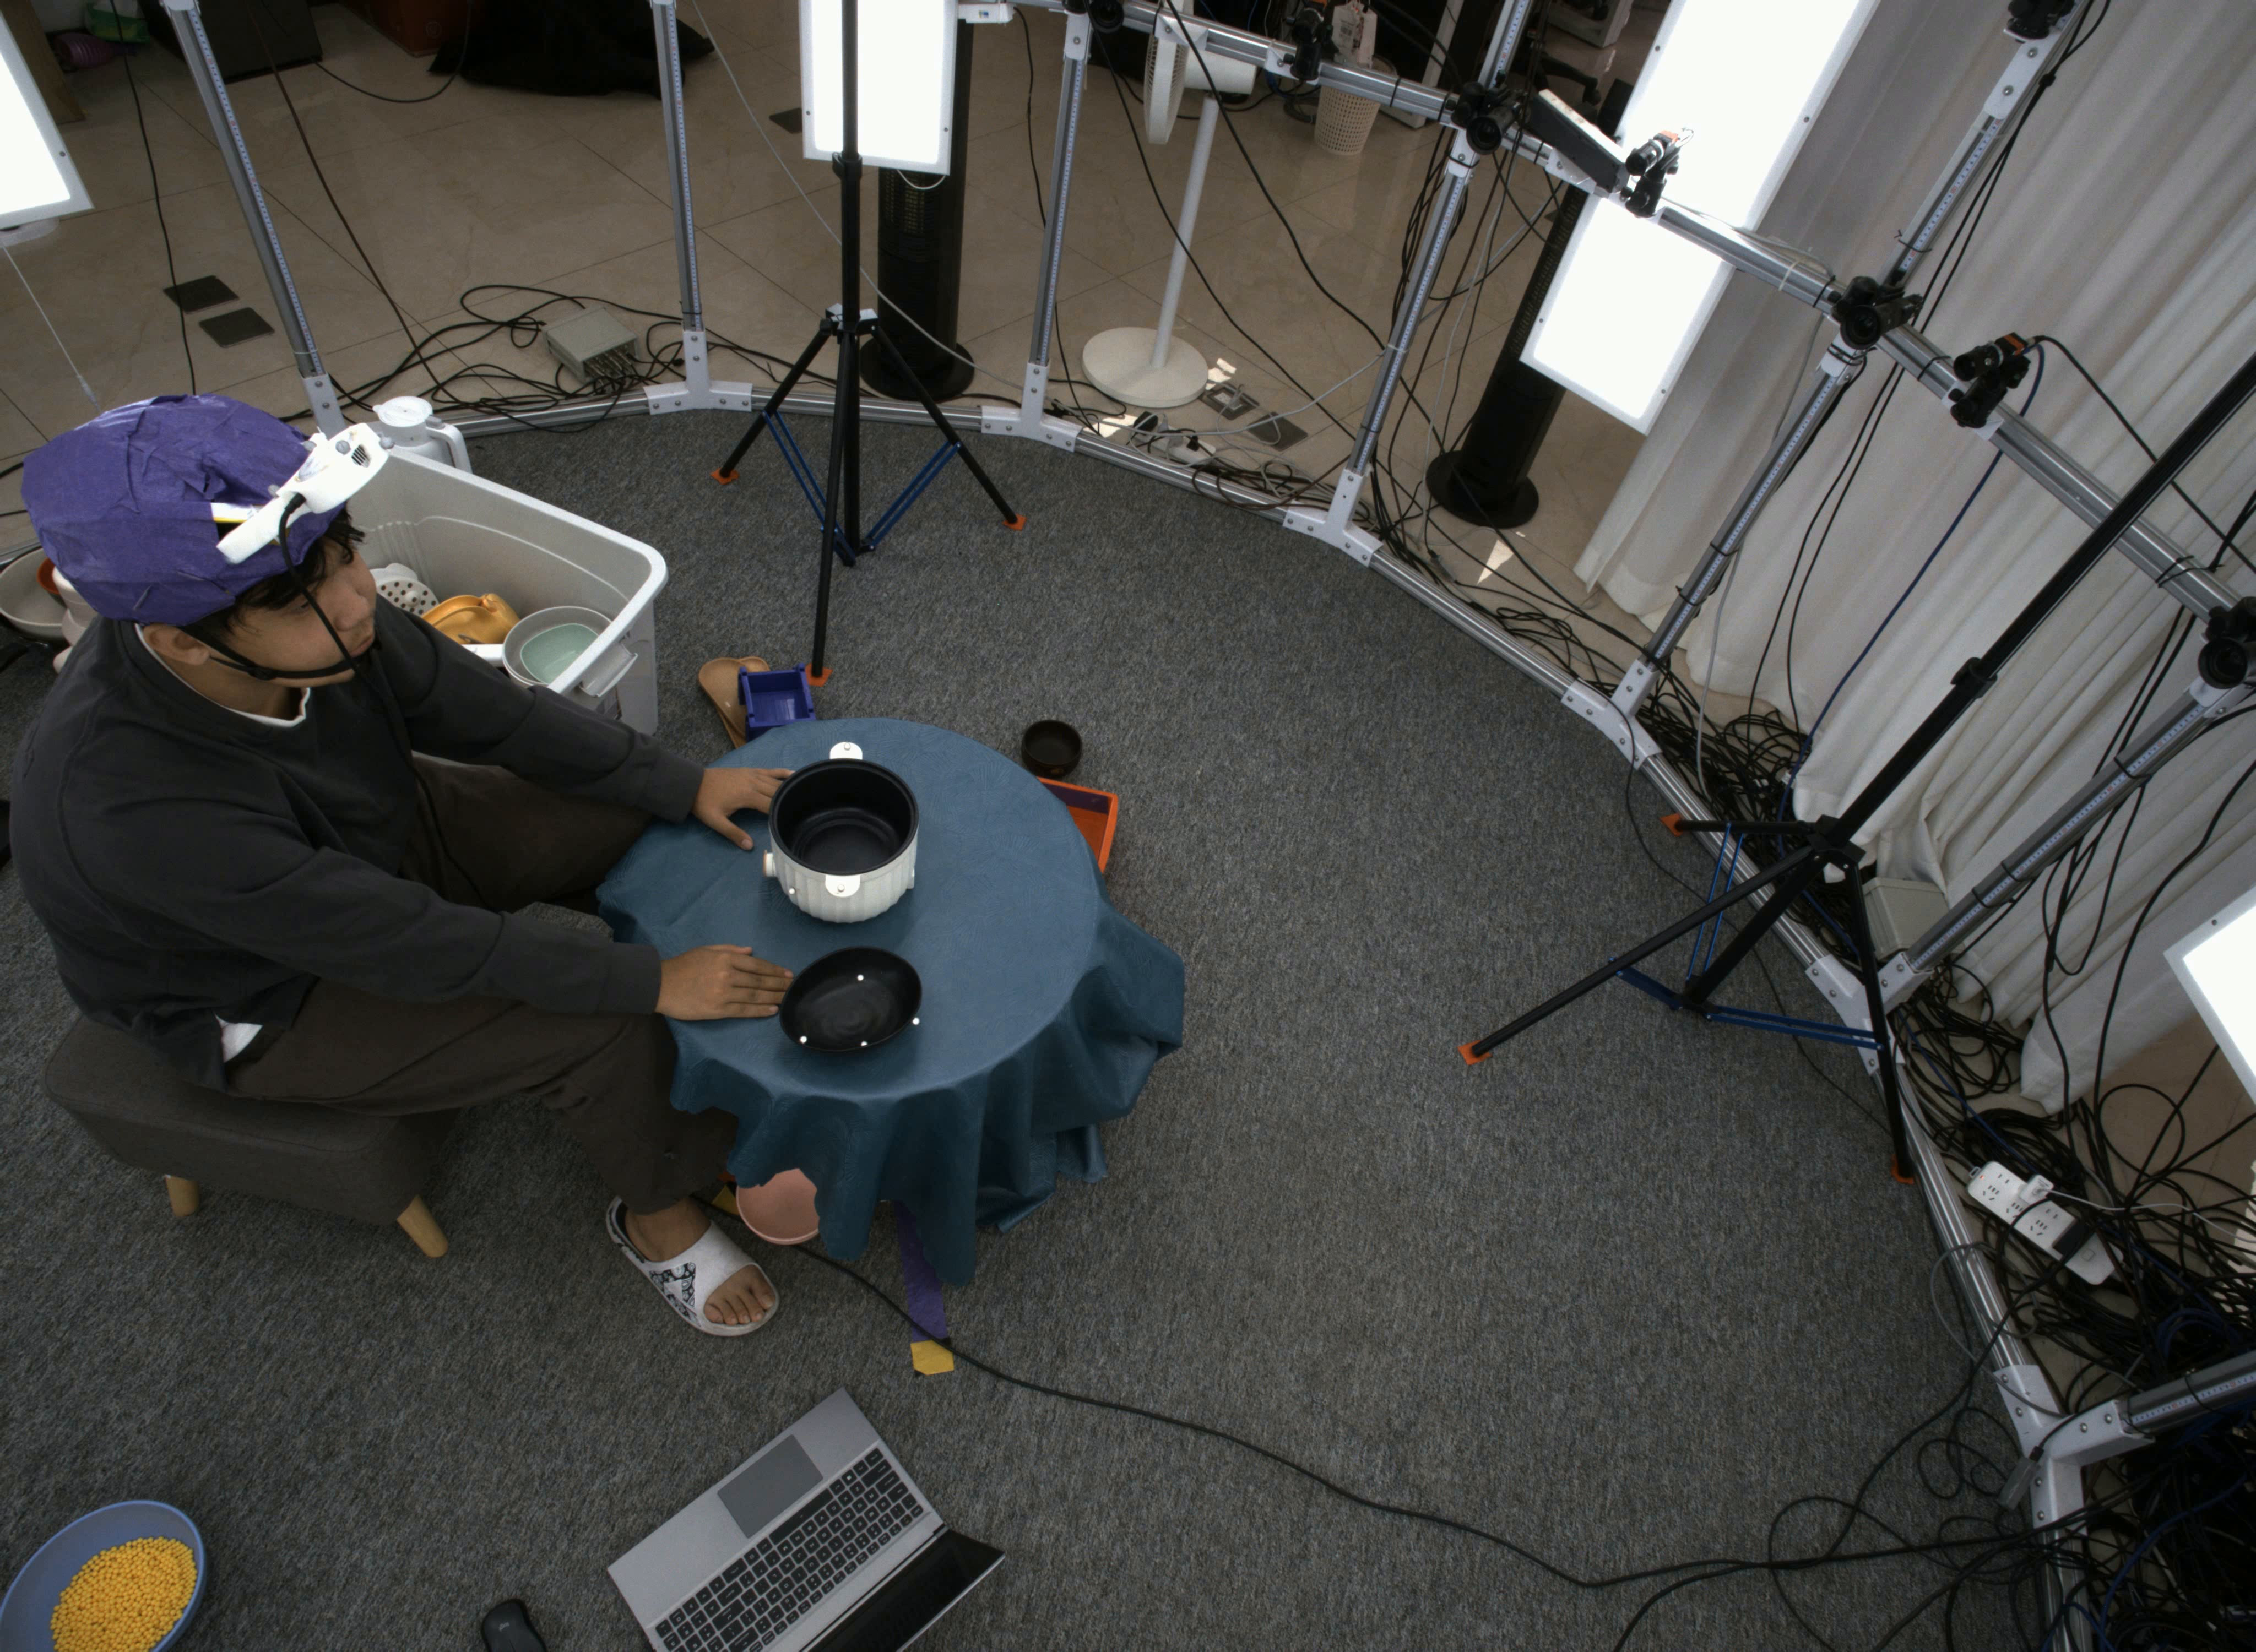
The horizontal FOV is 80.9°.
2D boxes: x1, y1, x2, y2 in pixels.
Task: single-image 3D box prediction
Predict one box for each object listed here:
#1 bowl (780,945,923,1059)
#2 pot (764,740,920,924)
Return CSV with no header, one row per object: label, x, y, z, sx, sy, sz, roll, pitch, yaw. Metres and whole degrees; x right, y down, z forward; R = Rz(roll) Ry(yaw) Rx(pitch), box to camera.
bowl,-0.325,0.218,1.540,0.171,0.068,0.134,-20,60,-24
pot,-0.359,0.025,1.628,0.191,0.145,0.235,2,52,-15
